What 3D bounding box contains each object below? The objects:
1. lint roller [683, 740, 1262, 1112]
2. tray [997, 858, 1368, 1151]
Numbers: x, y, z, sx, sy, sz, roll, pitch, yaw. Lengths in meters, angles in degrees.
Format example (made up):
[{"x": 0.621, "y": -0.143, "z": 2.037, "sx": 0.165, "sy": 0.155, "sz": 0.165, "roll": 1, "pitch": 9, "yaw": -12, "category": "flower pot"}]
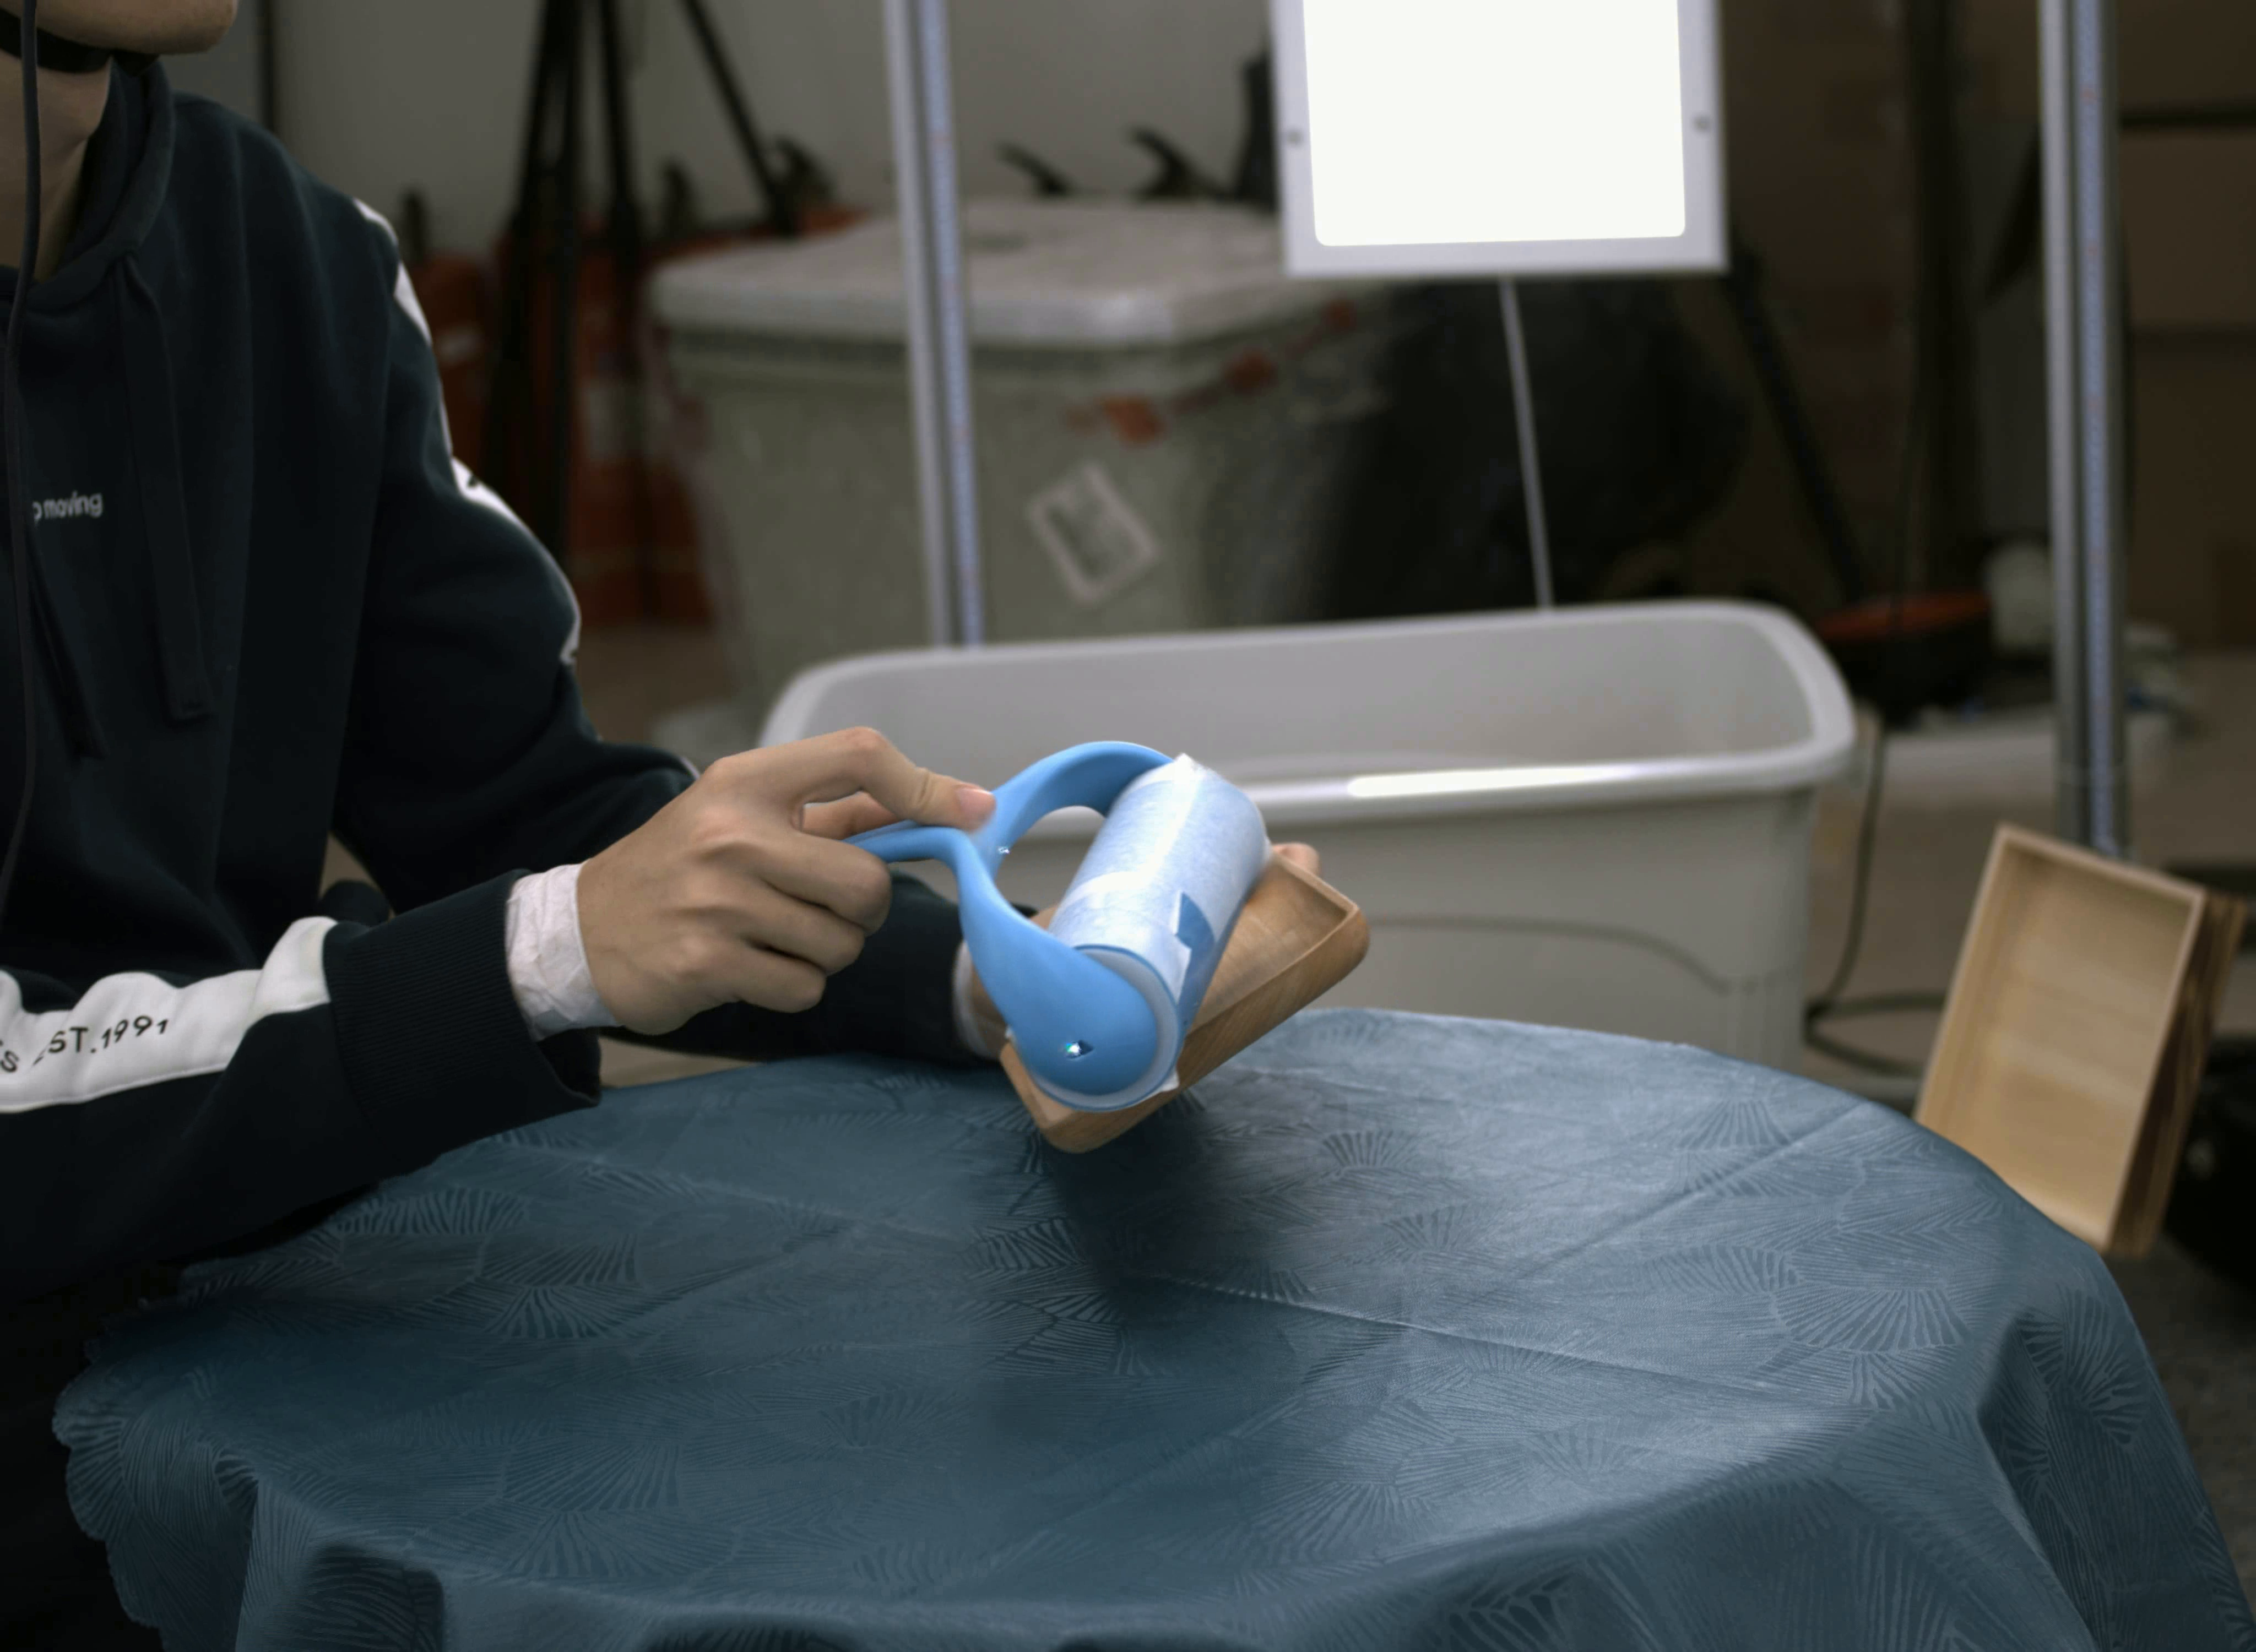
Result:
[{"x": -0.054, "y": 0.028, "z": 1.750, "sx": 0.181, "sy": 0.068, "sz": 0.227, "roll": 2, "pitch": 20, "yaw": 7, "category": "lint roller"}, {"x": 0.017, "y": 0.059, "z": 1.867, "sx": 0.130, "sy": 0.023, "sz": 0.251, "roll": -38, "pitch": 6, "yaw": 0, "category": "tray"}]
